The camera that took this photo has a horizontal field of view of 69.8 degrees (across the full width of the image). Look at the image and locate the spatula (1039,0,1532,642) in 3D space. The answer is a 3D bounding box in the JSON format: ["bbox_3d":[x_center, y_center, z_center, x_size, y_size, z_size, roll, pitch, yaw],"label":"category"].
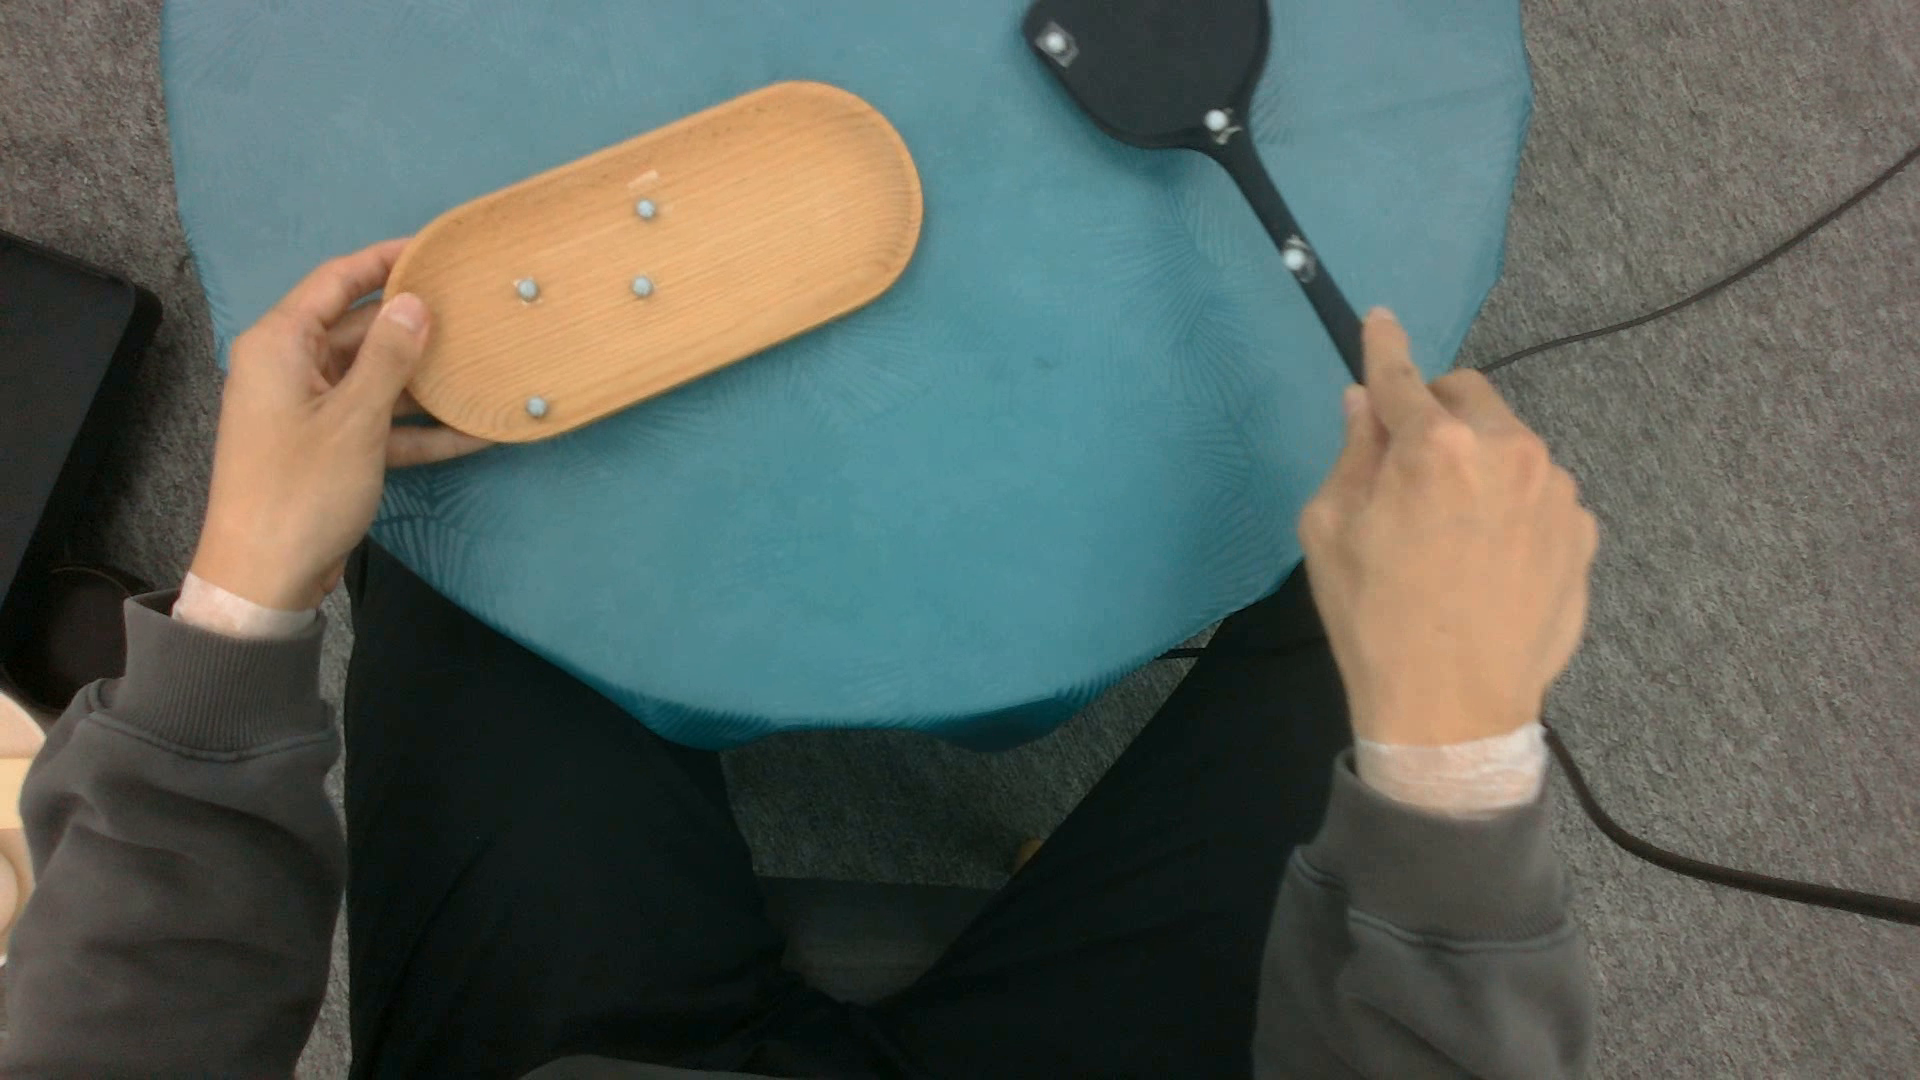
[{"bbox_3d":[0.136,-0.104,0.550,0.099,0.040,0.327,-34,65,22],"label":"spatula"}]

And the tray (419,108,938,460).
[{"bbox_3d":[-0.119,-0.112,0.600,0.231,0.020,0.101,-25,91,-10],"label":"tray"}]
